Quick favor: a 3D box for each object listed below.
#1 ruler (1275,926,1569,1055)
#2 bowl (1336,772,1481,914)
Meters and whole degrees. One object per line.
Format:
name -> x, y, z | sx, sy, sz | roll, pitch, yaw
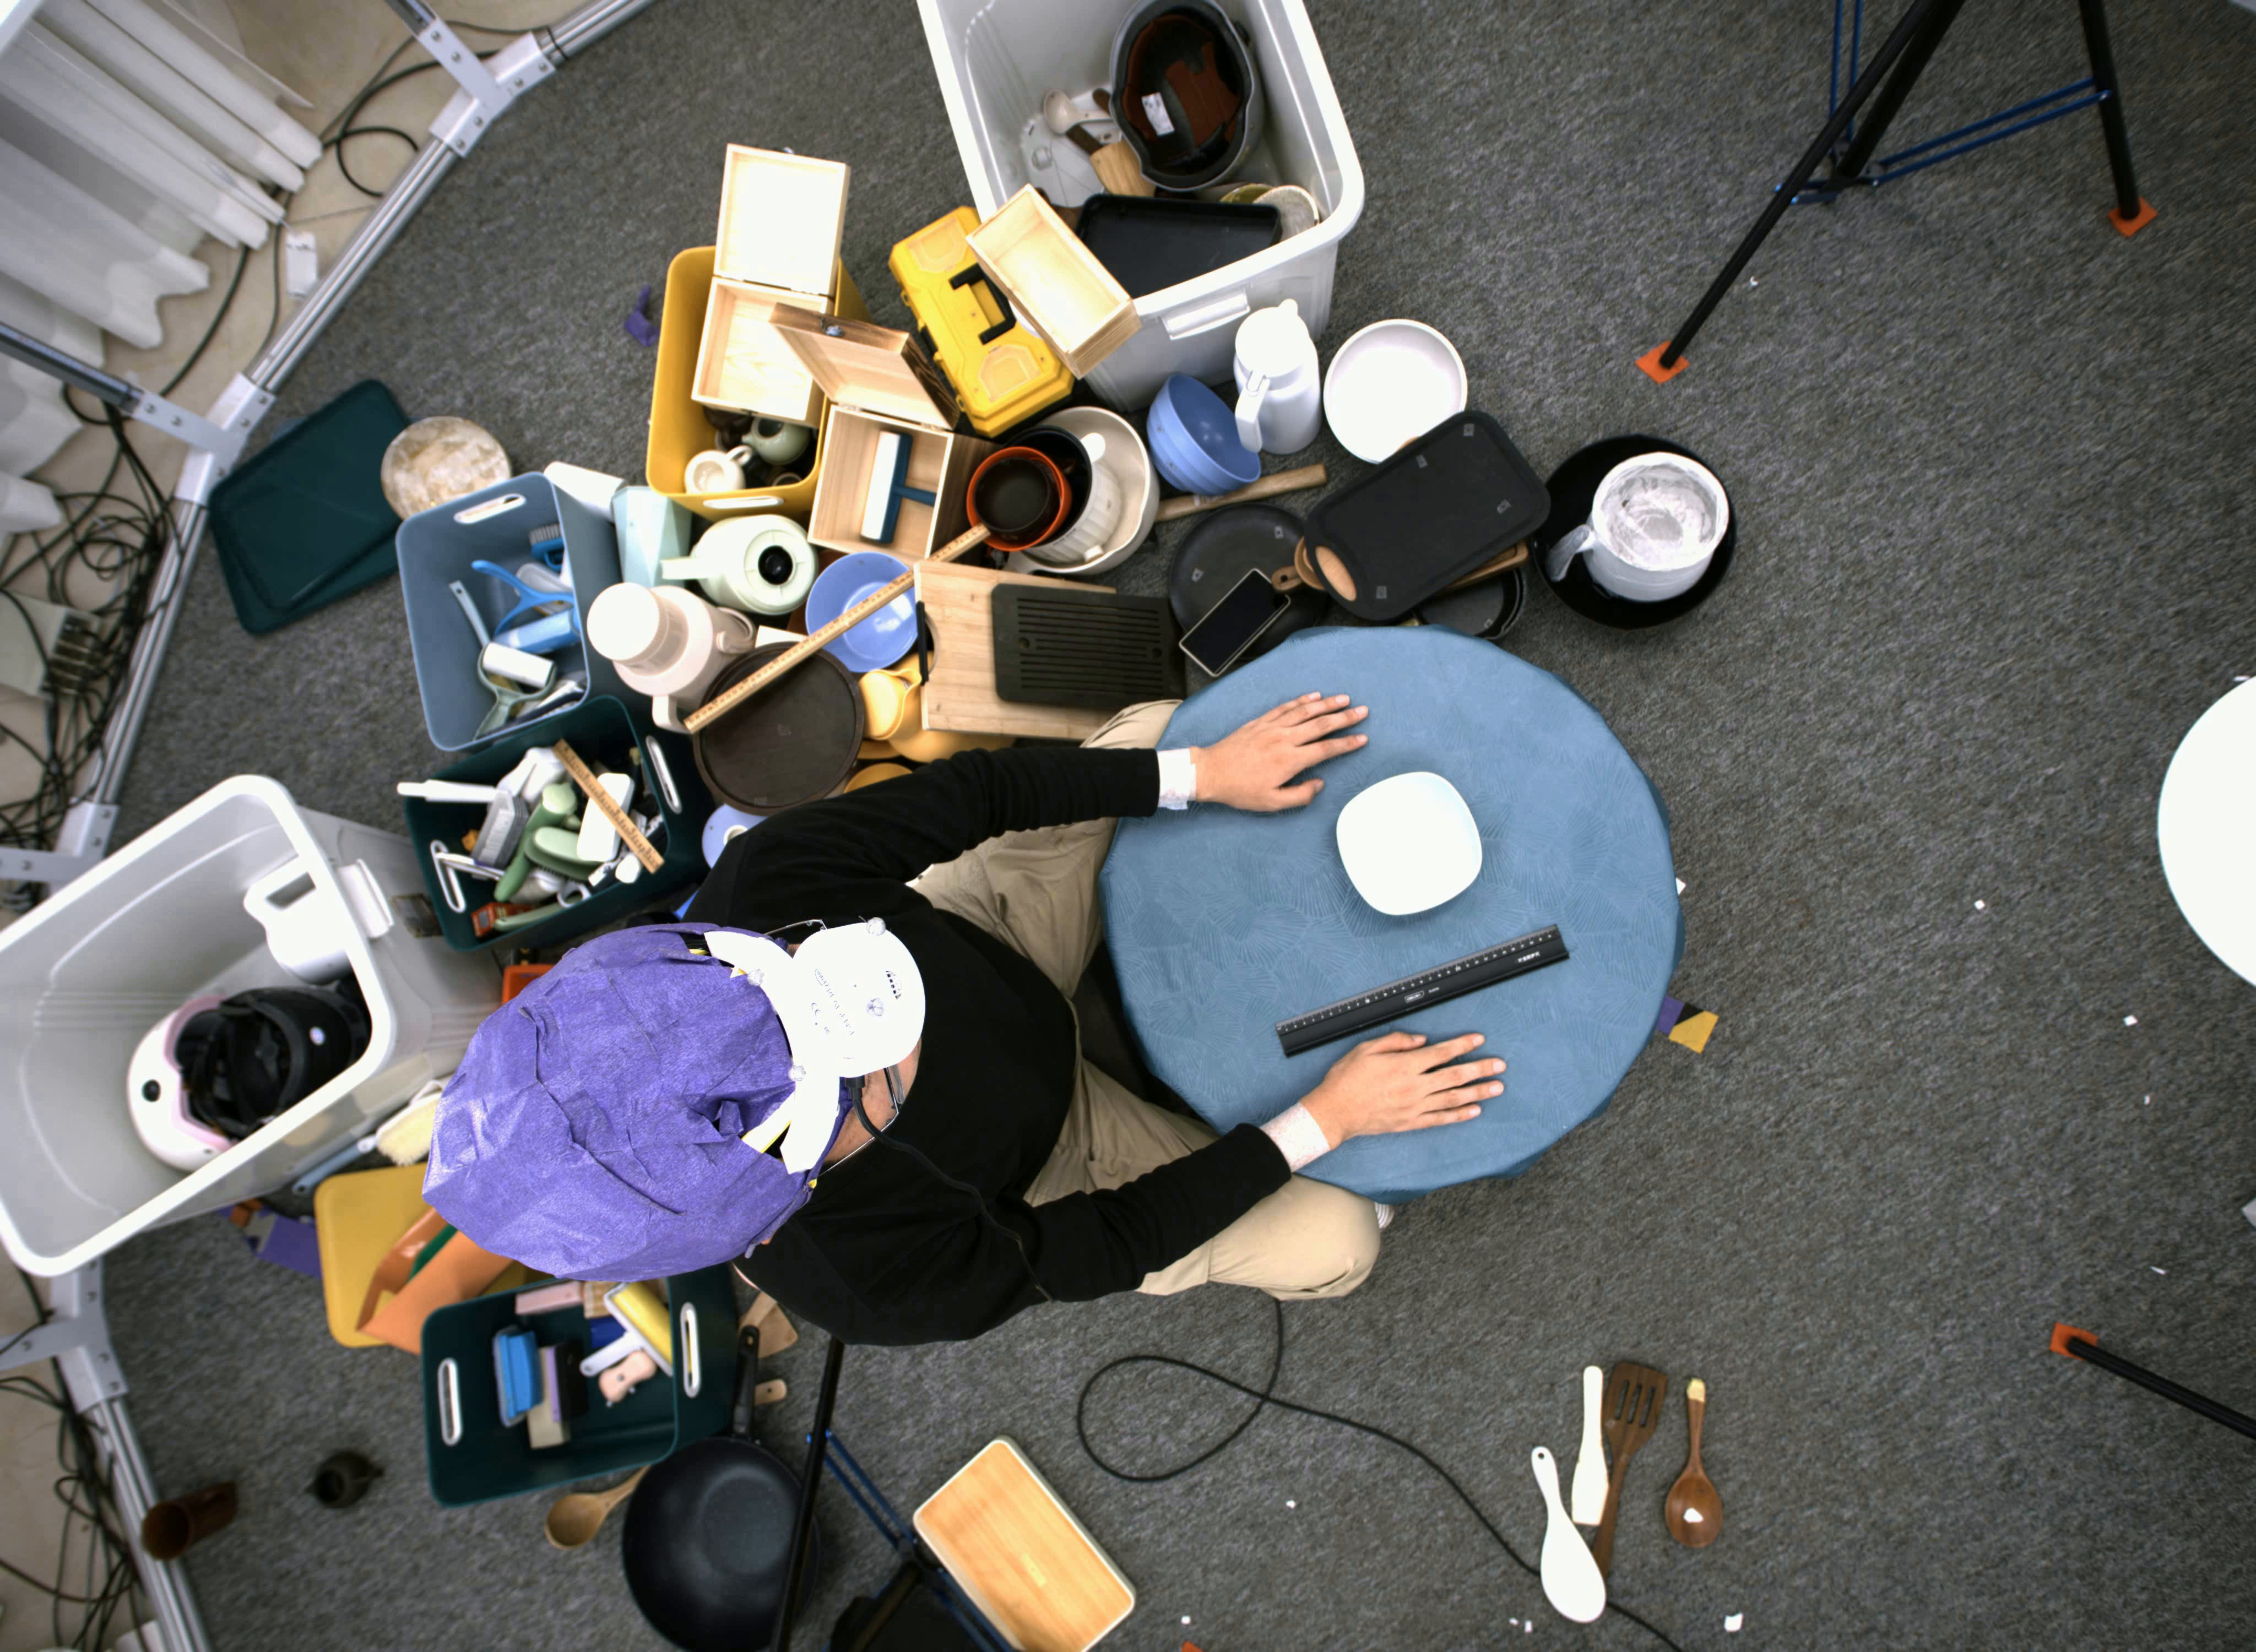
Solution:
ruler -> 0.305, 0.170, 1.440 | 0.314, 0.017, 0.039 | -20, 79, 9
bowl -> 0.289, 0.018, 1.431 | 0.152, 0.059, 0.151 | -1, 86, 8
